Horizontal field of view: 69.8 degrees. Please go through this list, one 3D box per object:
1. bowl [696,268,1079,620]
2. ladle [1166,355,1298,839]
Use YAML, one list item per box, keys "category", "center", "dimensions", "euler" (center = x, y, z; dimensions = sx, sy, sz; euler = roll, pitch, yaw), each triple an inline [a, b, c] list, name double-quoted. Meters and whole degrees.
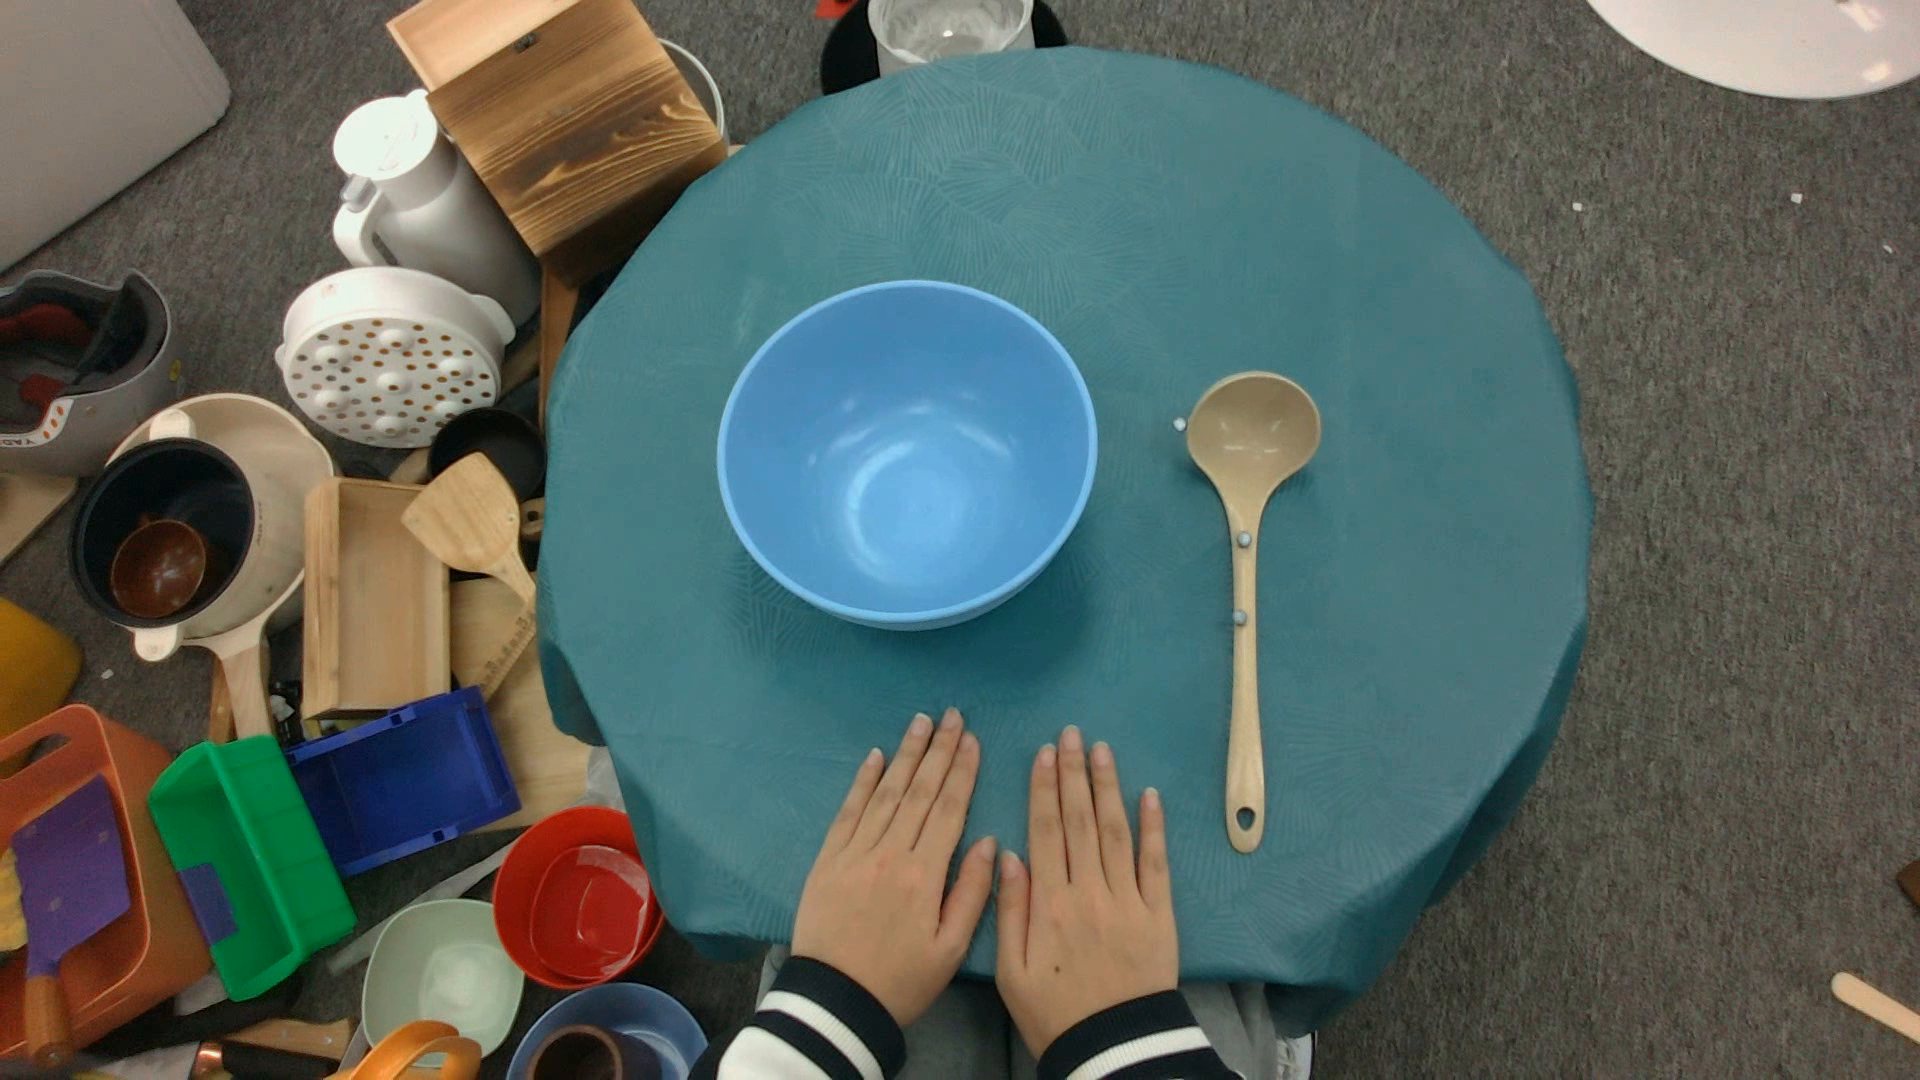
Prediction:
- category: "bowl"
  center: [-0.037, -0.039, 0.747]
  dimensions: [0.196, 0.095, 0.197]
  euler: [0, 67, 0]
- category: "ladle"
  center: [0.146, 0.023, 0.722]
  dimensions: [0.072, 0.072, 0.255]
  euler: [2, 67, 2]
